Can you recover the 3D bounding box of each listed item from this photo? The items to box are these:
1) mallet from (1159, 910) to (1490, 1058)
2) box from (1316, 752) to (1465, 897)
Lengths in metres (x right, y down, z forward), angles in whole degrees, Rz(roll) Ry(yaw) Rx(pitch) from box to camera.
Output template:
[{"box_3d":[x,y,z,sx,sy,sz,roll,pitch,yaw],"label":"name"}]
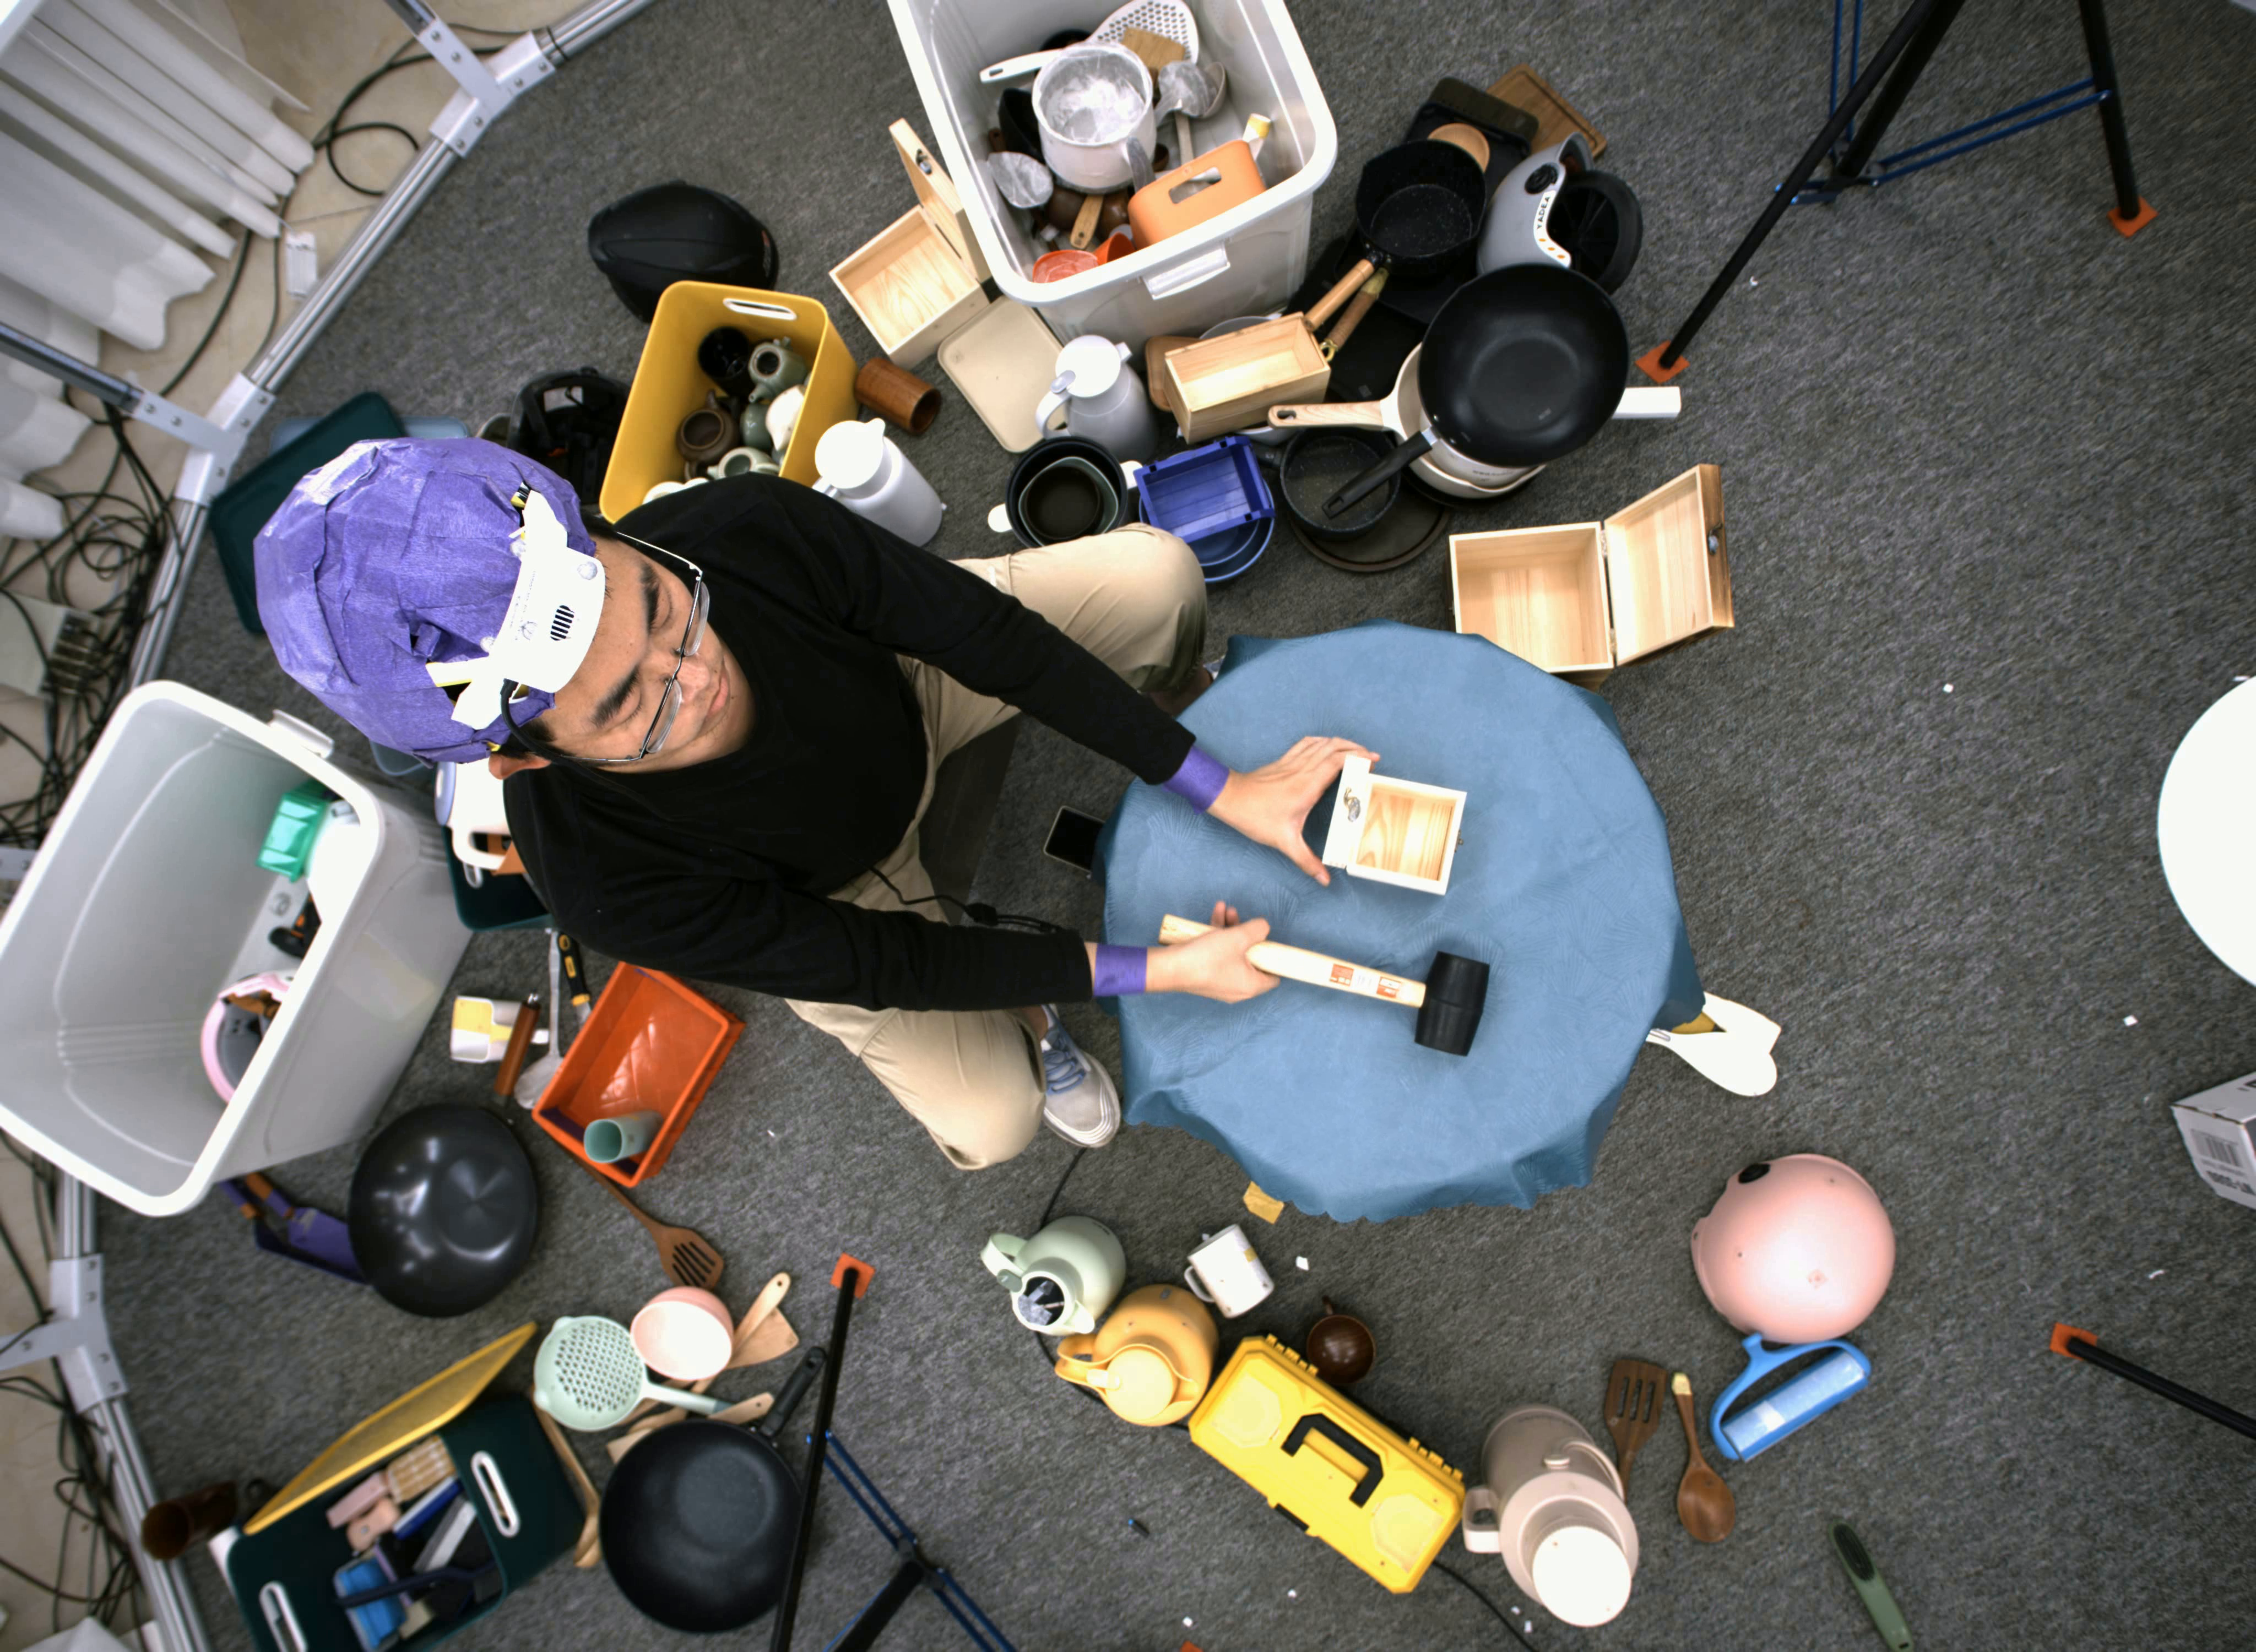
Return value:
[{"box_3d":[0.198,0.145,1.416,0.339,0.064,0.101,15,86,2],"label":"mallet"},{"box_3d":[0.267,0.001,1.374,0.134,0.185,0.102,12,86,14],"label":"box"}]
